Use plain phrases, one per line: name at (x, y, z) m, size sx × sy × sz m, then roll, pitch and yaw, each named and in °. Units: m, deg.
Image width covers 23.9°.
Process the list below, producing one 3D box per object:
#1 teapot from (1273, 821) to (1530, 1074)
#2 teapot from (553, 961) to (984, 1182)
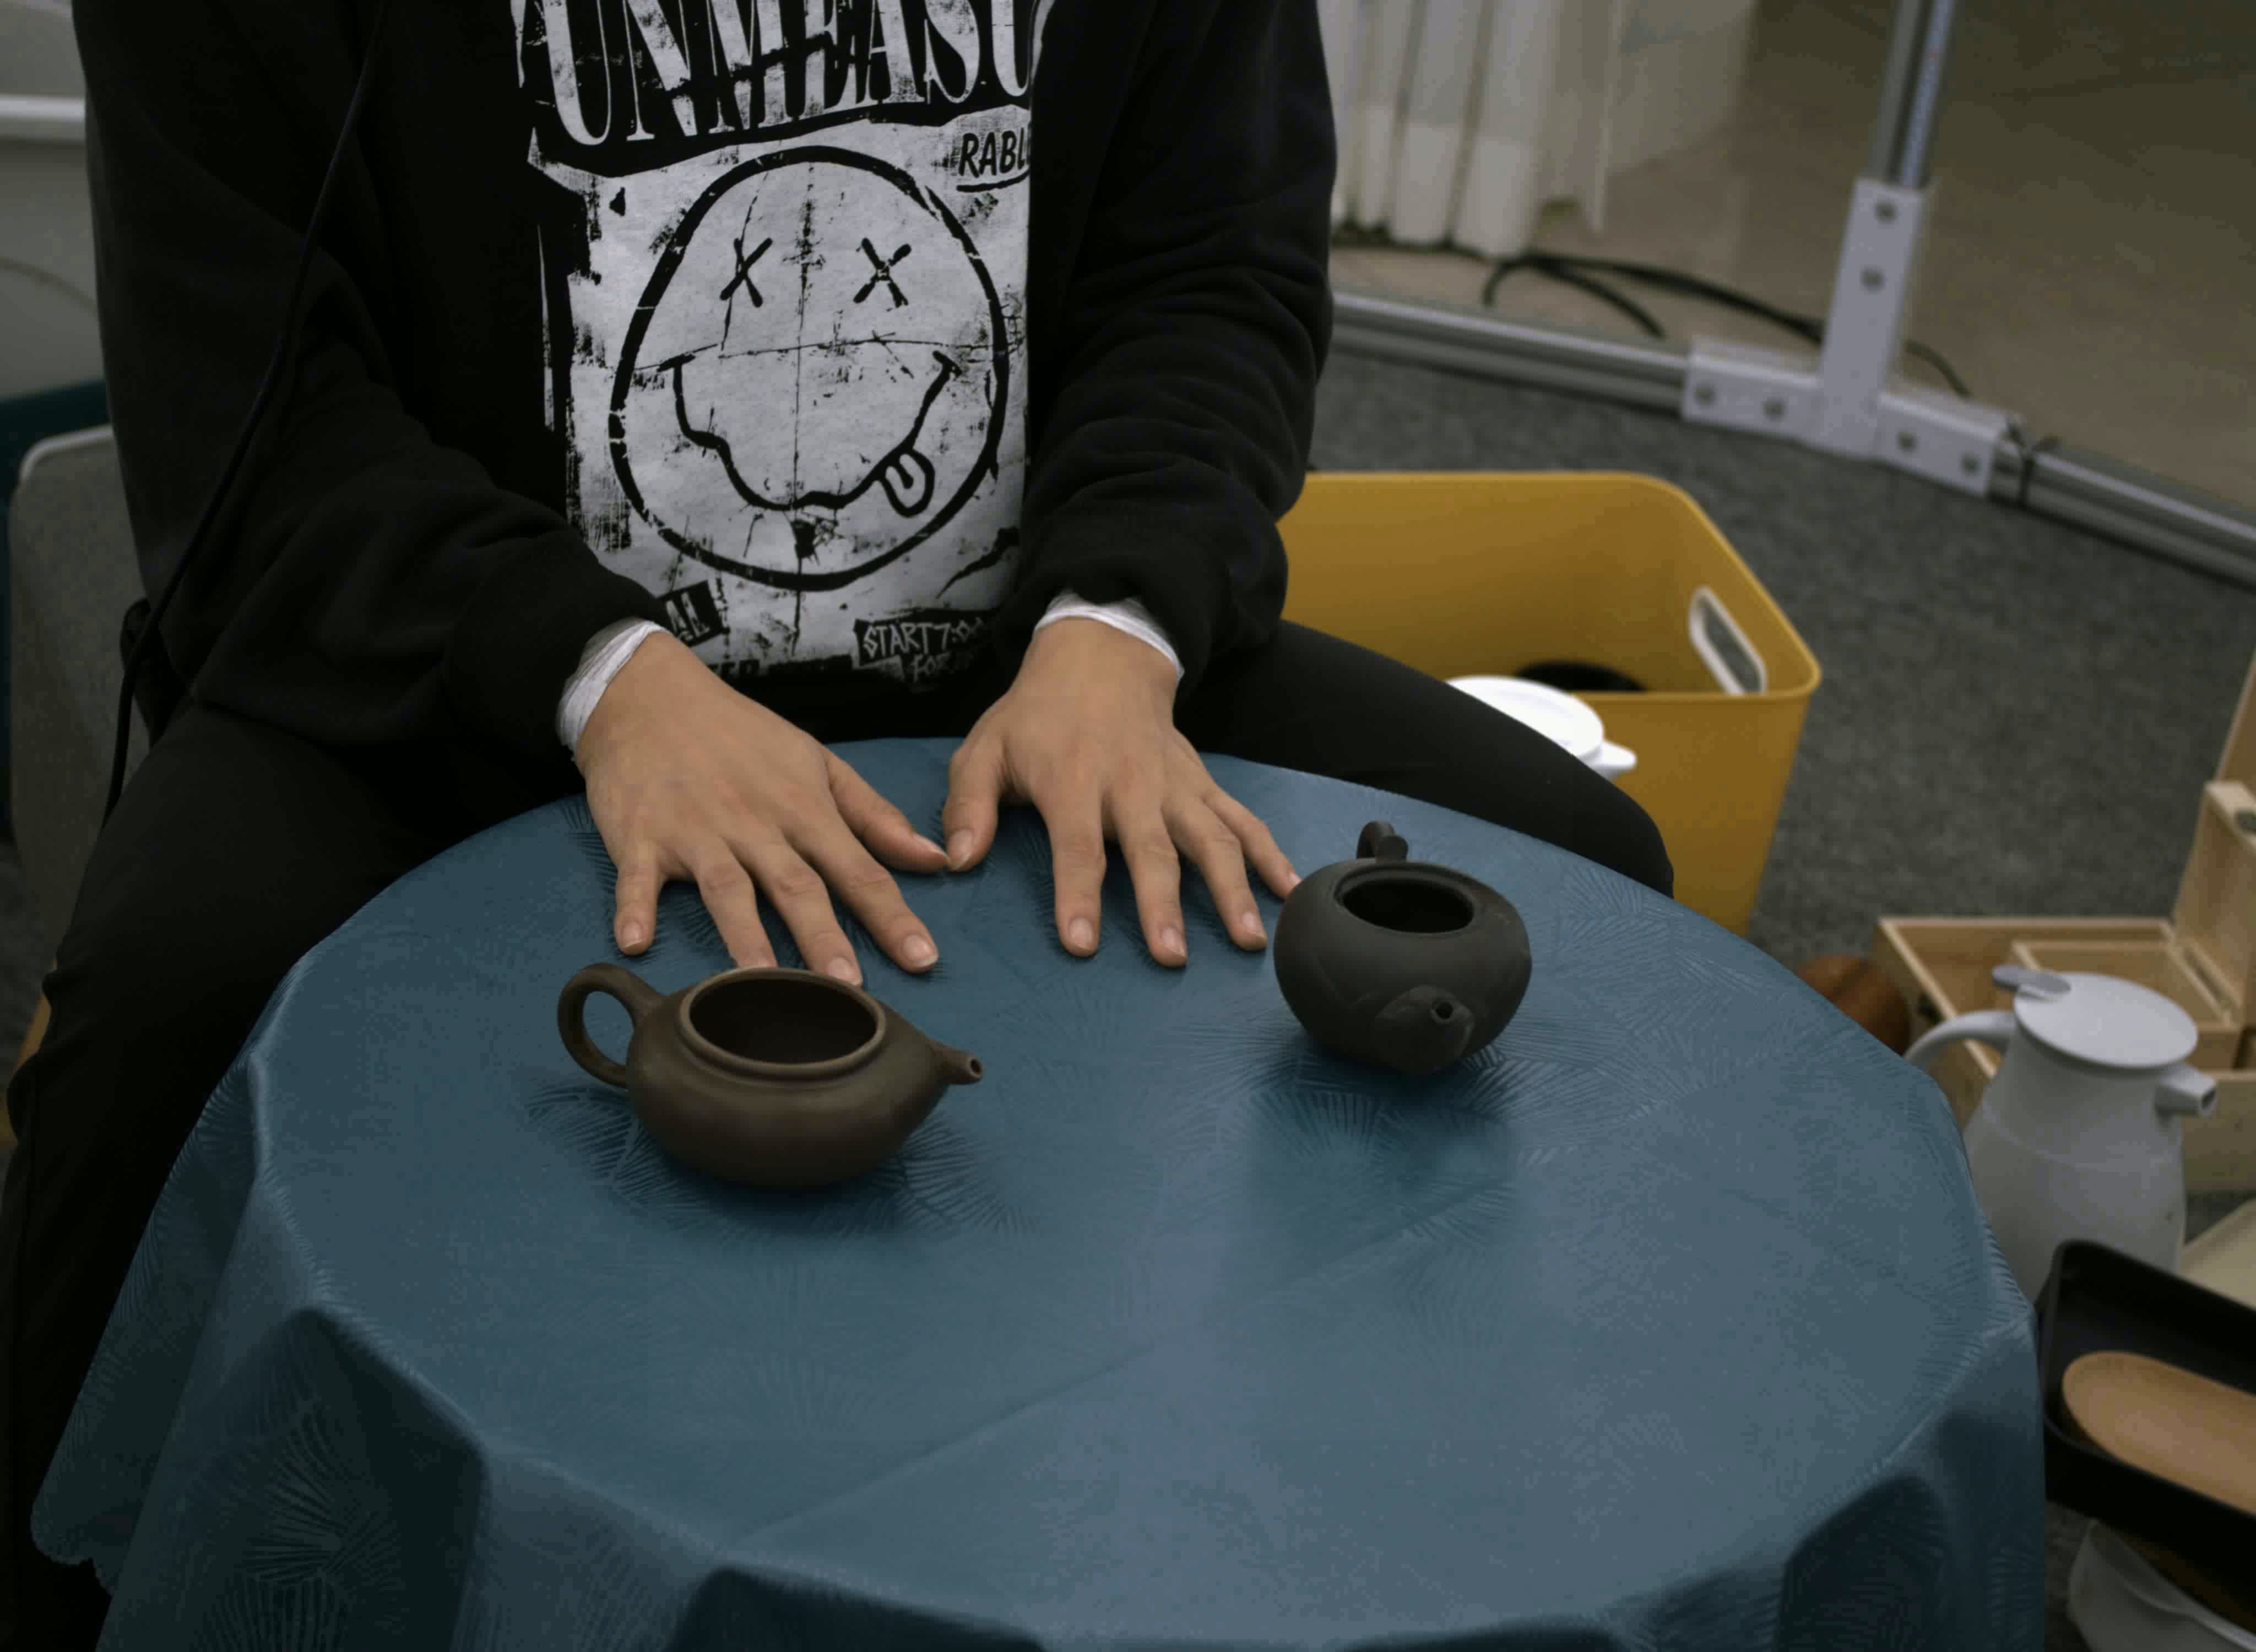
teapot at (0.097, 0.047, 1.907) m, size 0.092 × 0.064 × 0.155 m, roll 5°, pitch 27°, yaw -9°
teapot at (-0.123, 0.081, 1.800) m, size 0.153 × 0.053 × 0.103 m, roll 13°, pitch 25°, yaw 11°
